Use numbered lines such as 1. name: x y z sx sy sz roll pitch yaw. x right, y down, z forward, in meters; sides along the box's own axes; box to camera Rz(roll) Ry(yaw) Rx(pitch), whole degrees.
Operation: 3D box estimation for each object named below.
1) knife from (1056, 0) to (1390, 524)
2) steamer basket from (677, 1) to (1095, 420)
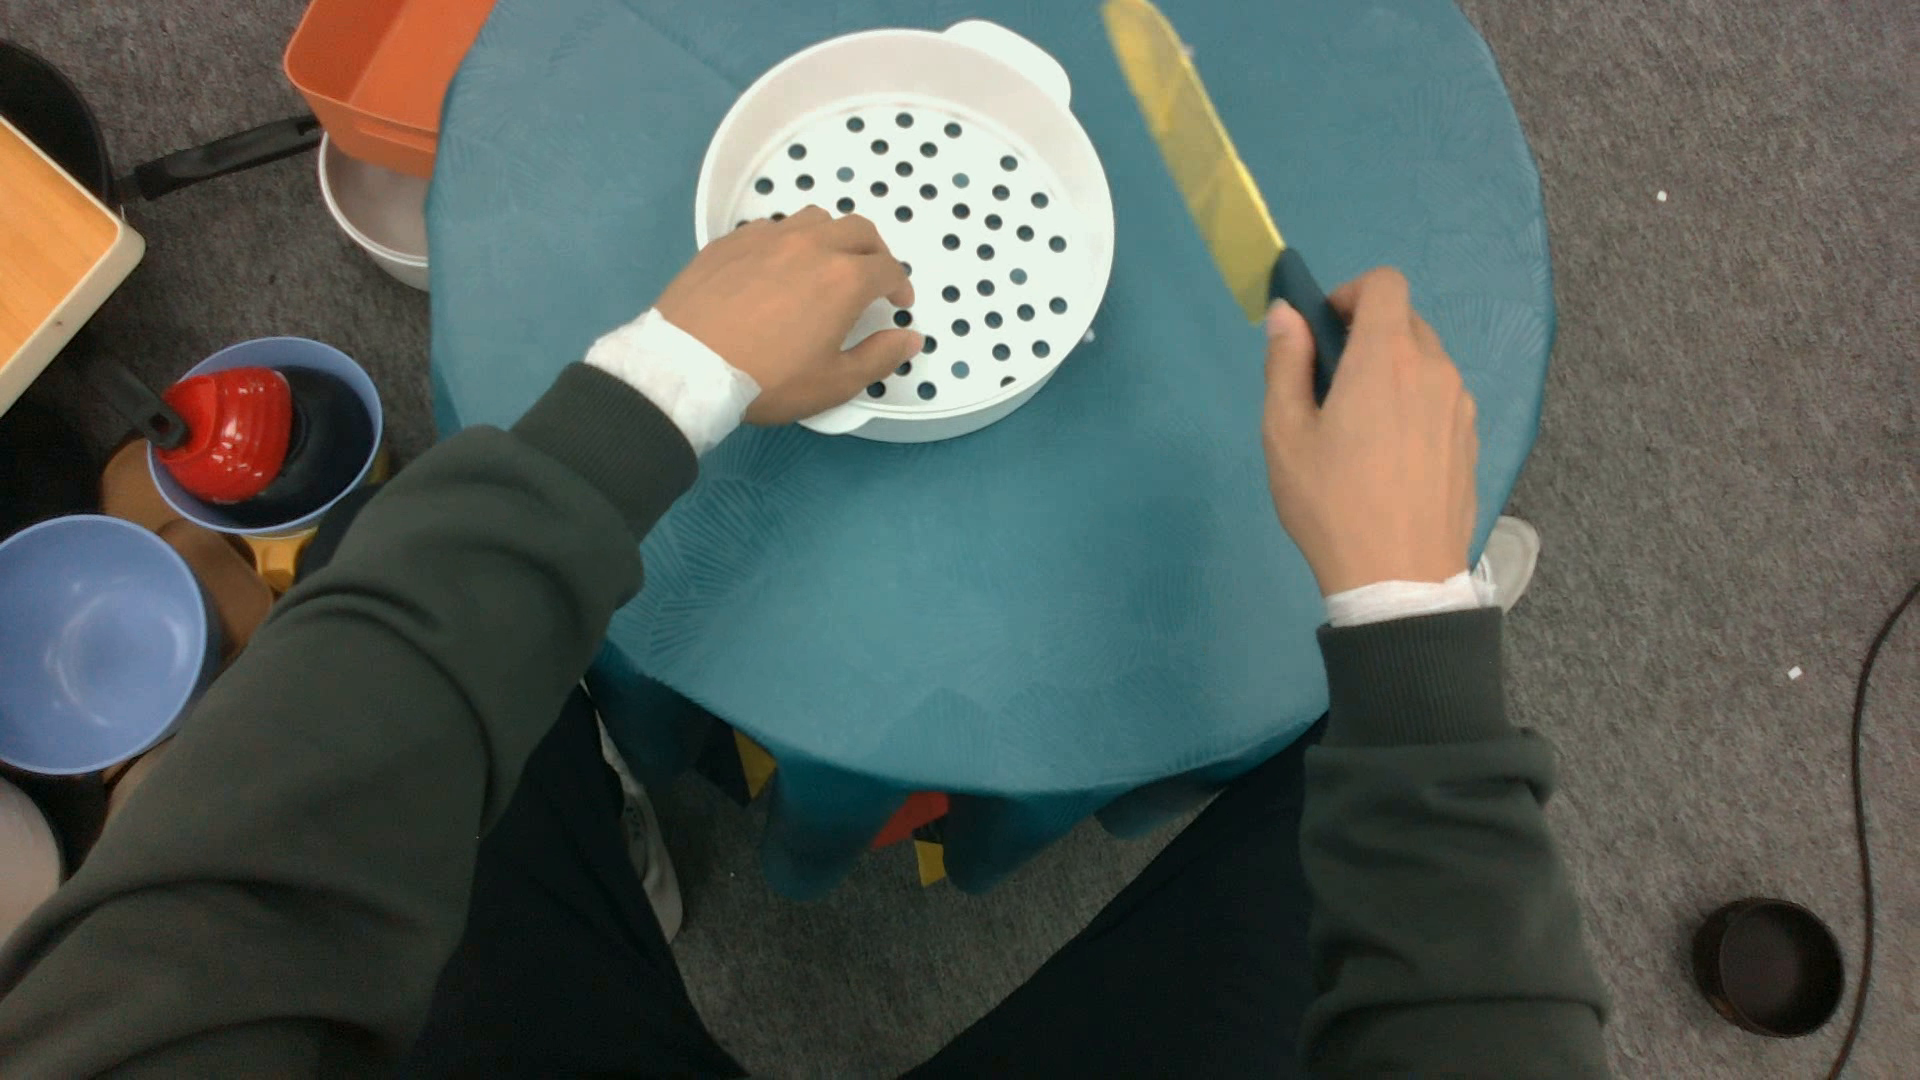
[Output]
1. knife: 0.109 -0.133 0.614 0.027 0.081 0.290 -26 81 -8
2. steamer basket: -0.037 -0.159 0.689 0.202 0.069 0.231 31 76 2
